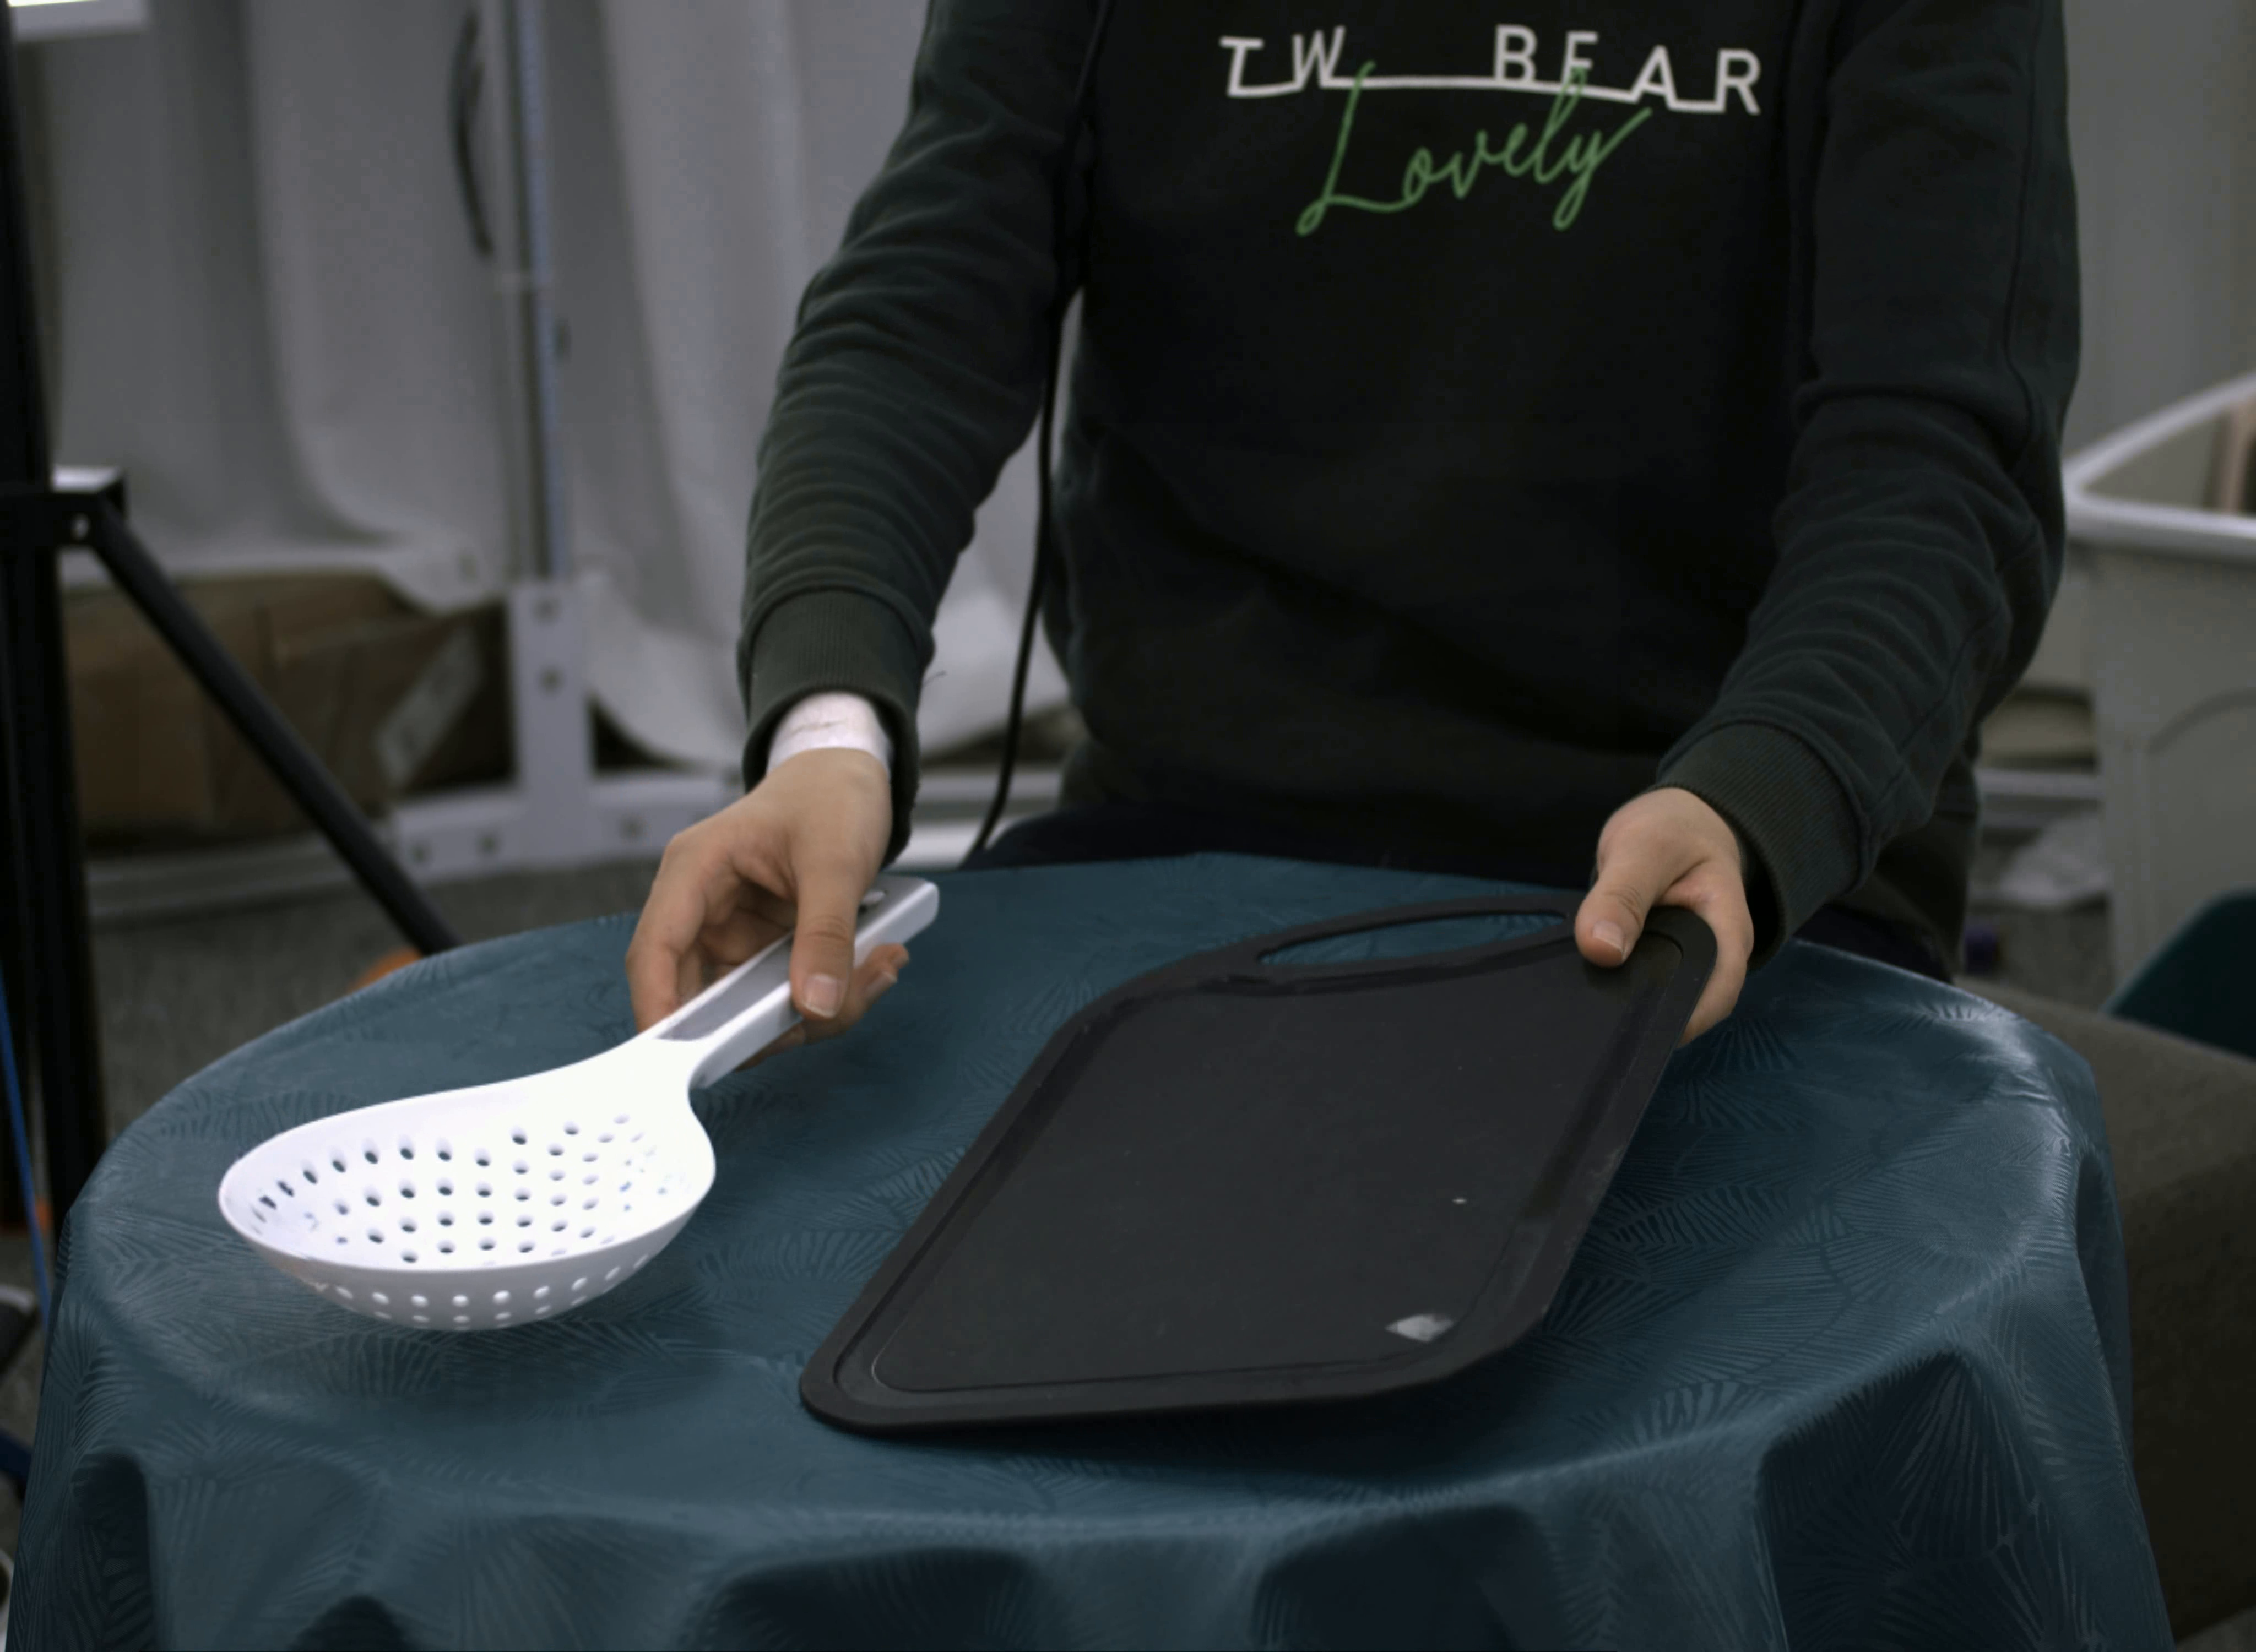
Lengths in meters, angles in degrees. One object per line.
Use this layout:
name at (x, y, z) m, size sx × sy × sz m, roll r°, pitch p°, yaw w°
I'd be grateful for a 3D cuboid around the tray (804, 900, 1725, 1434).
tray at (0.046, 0.088, 1.491) m, size 0.213 × 0.010 × 0.323 m, roll -6°, pitch 21°, yaw 22°

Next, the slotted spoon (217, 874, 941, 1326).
slotted spoon at (-0.140, 0.072, 1.563) m, size 0.138 × 0.045 × 0.345 m, roll 7°, pitch 24°, yaw 23°
